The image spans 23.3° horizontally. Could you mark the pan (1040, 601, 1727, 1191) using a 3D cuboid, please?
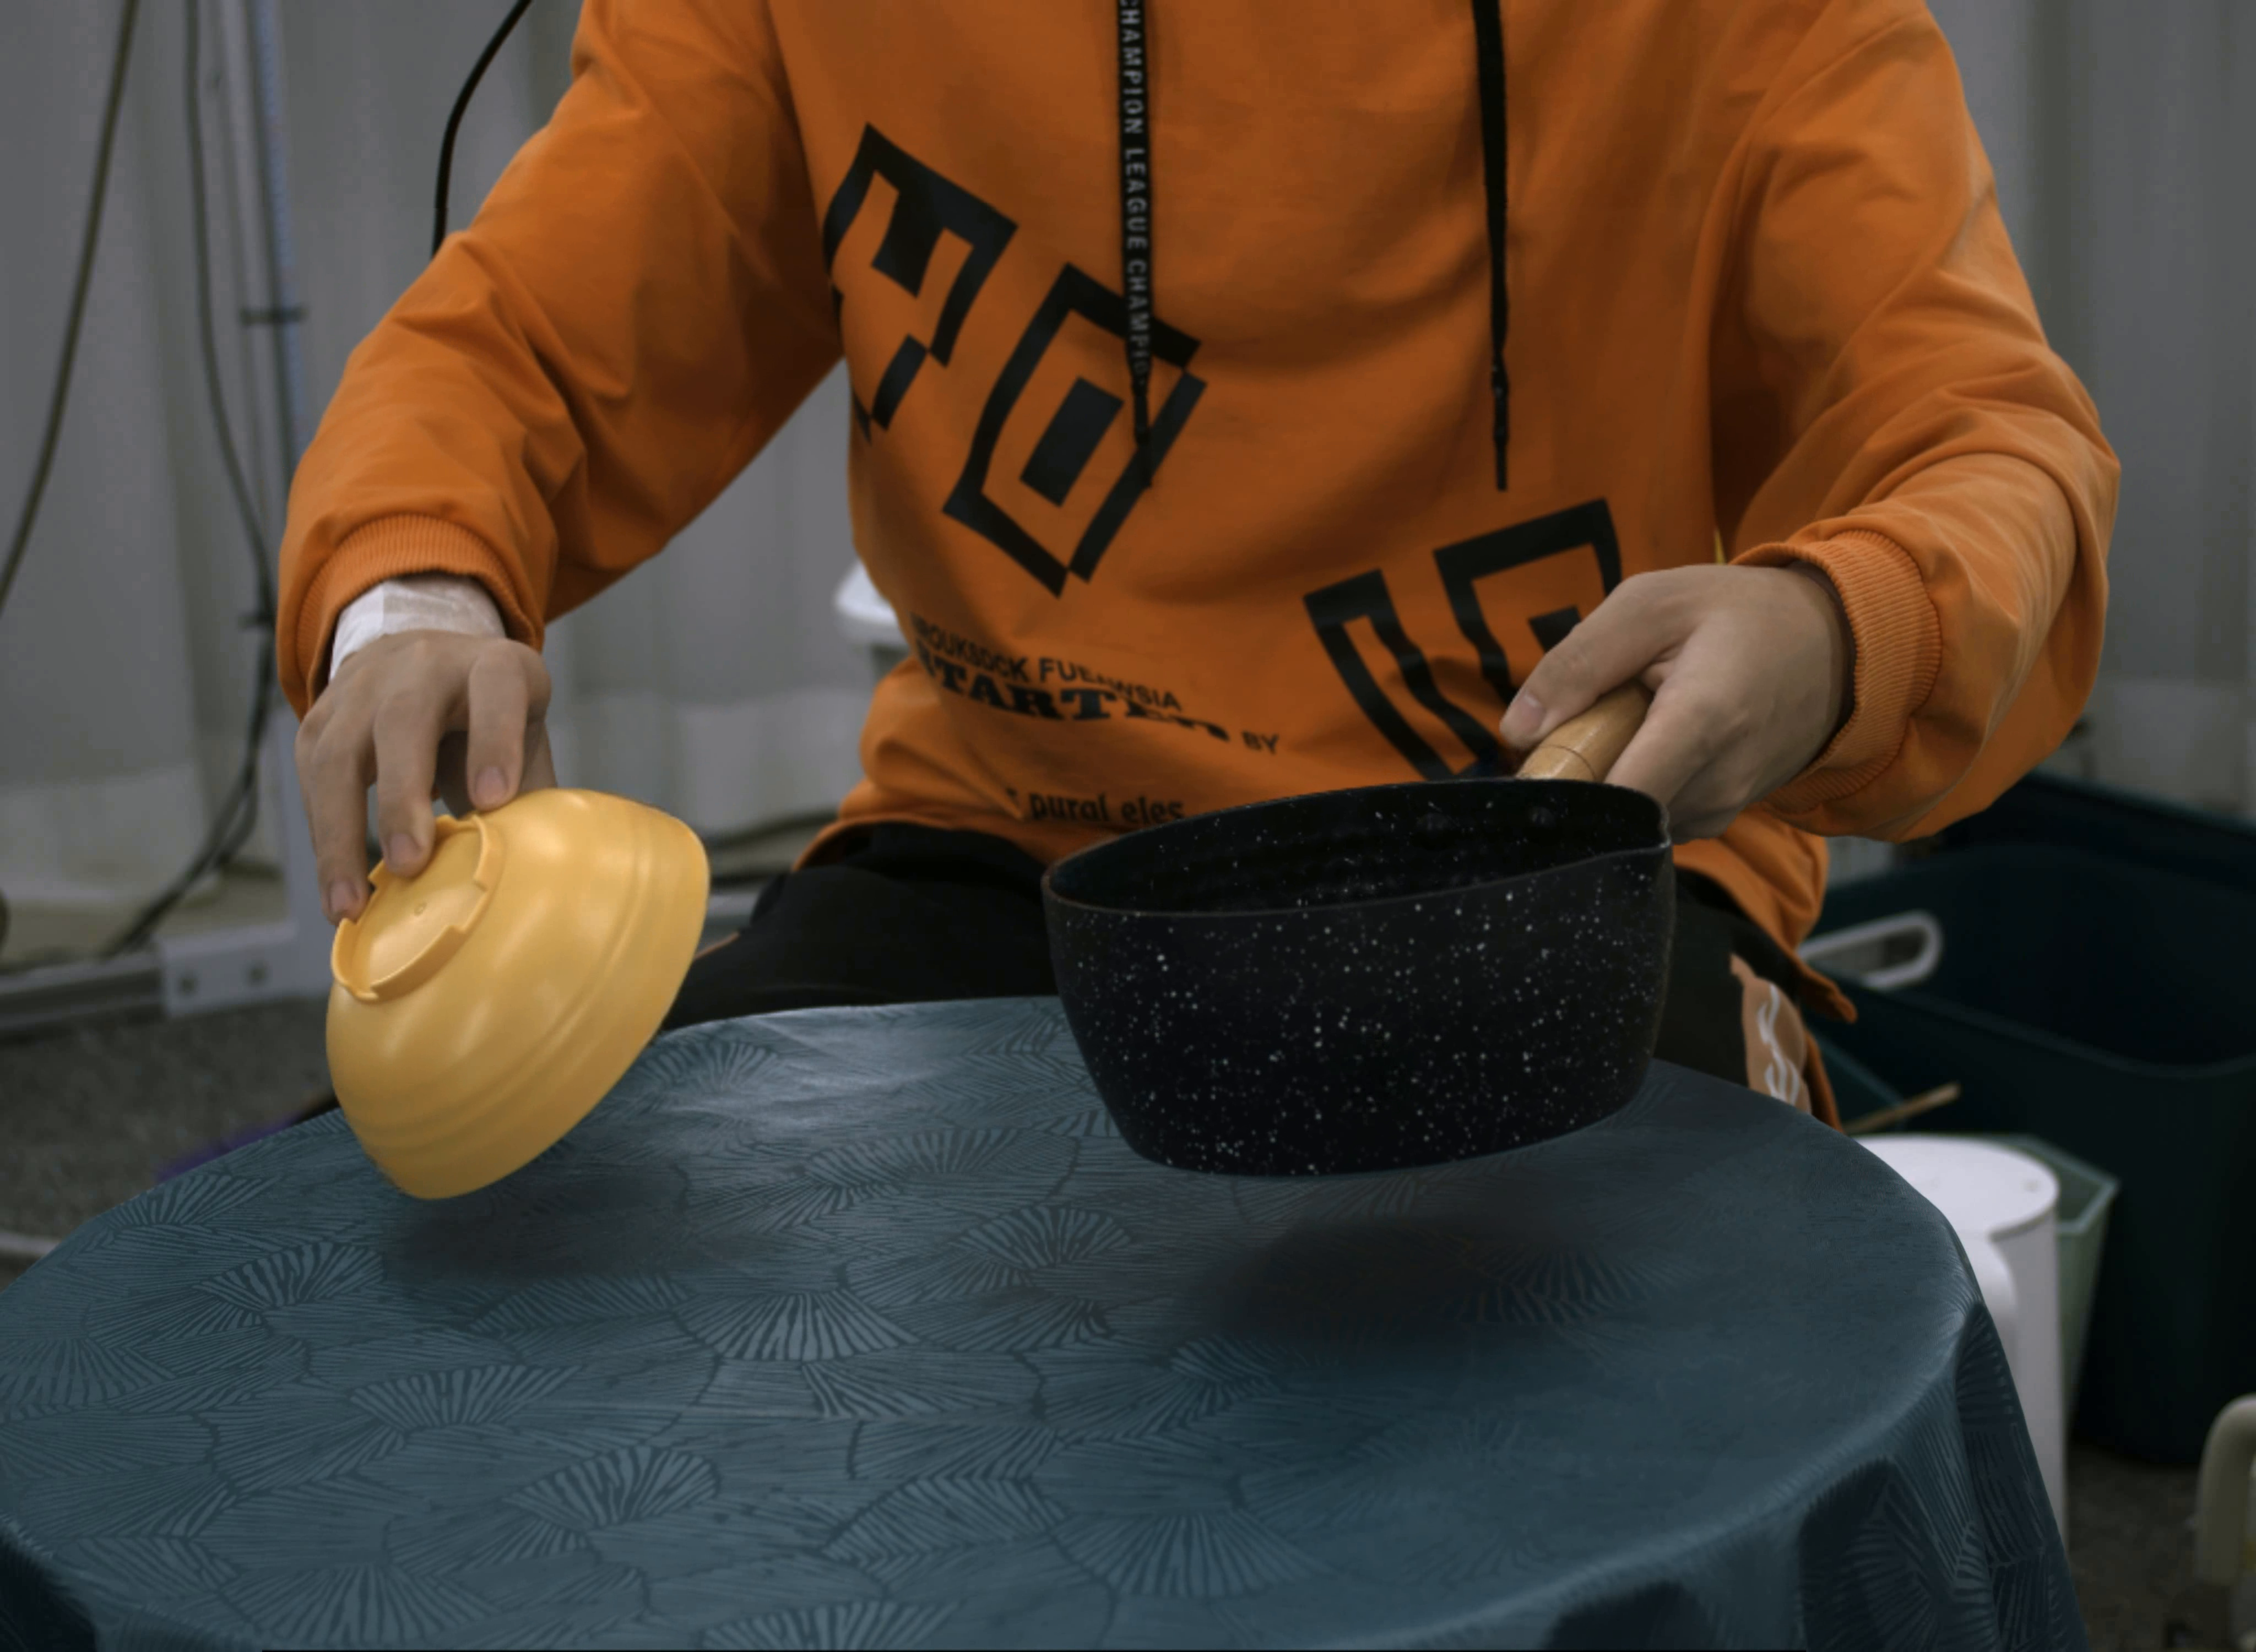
[{"bbox_3d":[0.107,0.017,1.666,0.207,0.108,0.343,-3,12,30],"label":"pan"}]

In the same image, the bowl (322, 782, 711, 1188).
[{"bbox_3d":[-0.201,0.037,1.687,0.145,0.059,0.147,-31,34,23],"label":"bowl"}]
